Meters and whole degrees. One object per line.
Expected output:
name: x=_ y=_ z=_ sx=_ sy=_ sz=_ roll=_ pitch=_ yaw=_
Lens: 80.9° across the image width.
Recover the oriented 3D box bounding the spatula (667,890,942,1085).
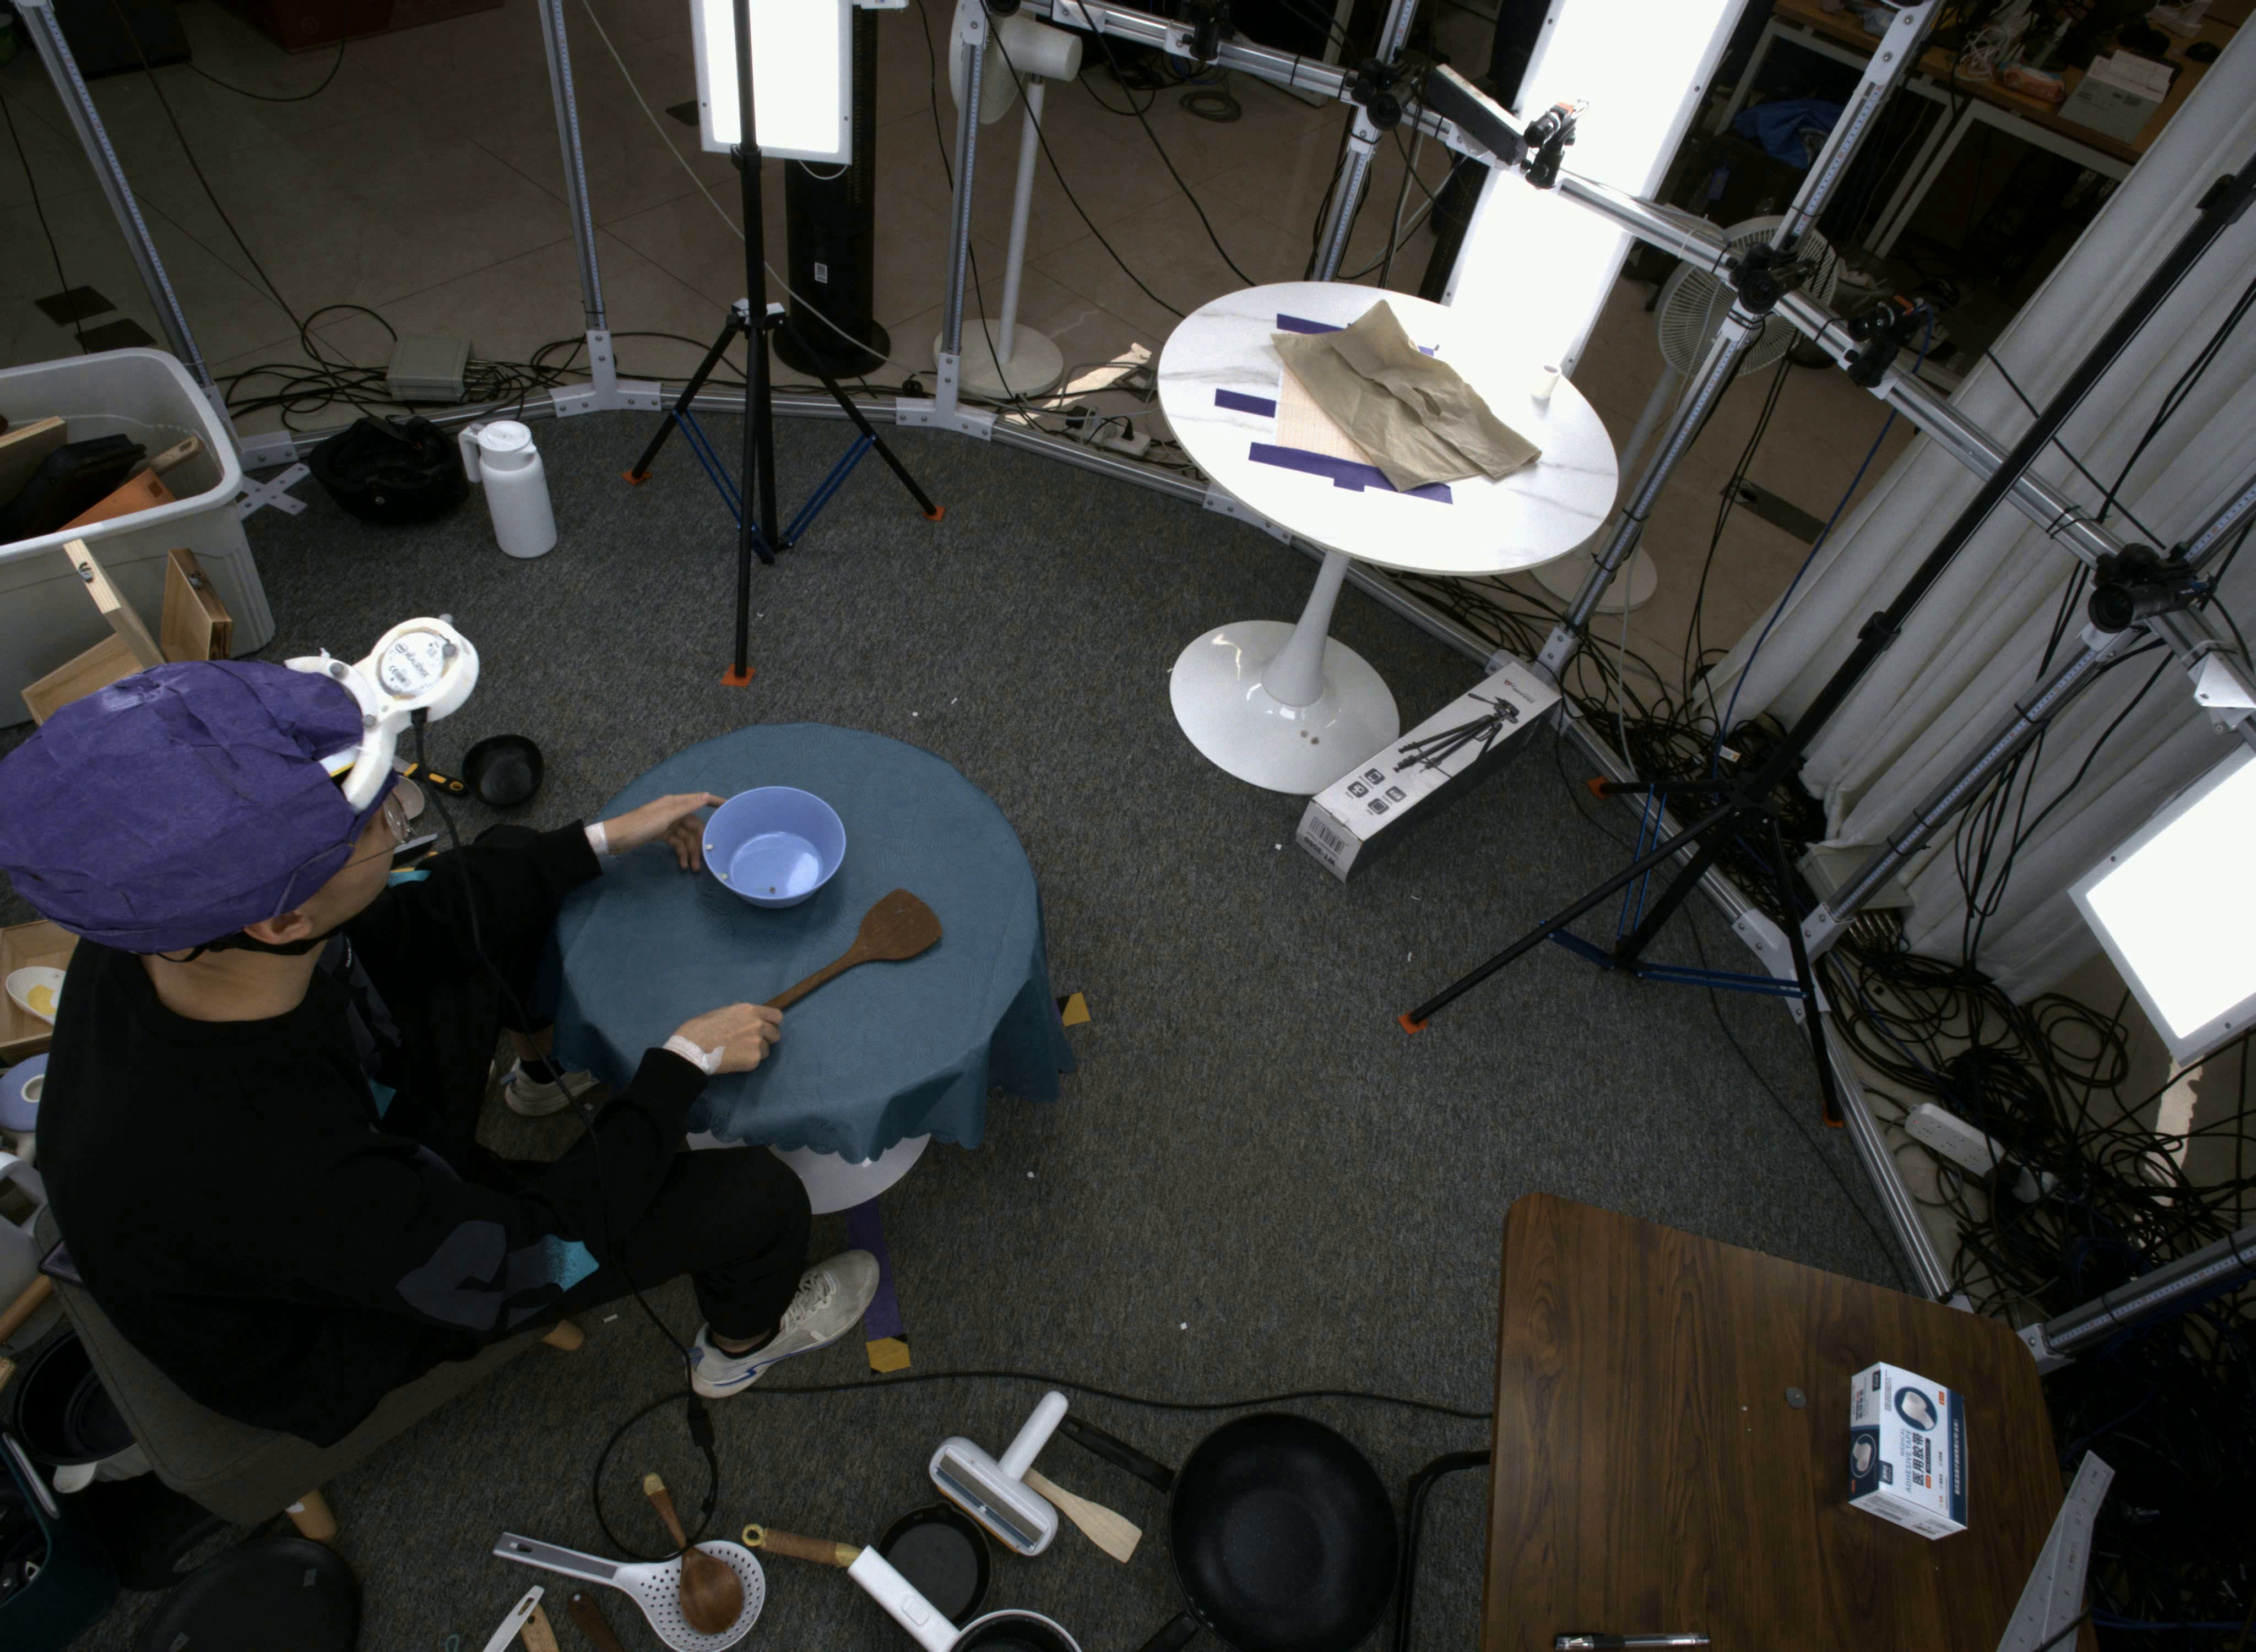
spatula: x=-0.395 y=0.197 z=1.581 sx=0.387 sy=0.016 sz=0.094 roll=-34 pitch=67 yaw=-32

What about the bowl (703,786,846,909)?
bowl: x=-0.447 y=0.037 z=1.651 sx=0.175 sy=0.072 sz=0.173 roll=7 pitch=53 yaw=-7
